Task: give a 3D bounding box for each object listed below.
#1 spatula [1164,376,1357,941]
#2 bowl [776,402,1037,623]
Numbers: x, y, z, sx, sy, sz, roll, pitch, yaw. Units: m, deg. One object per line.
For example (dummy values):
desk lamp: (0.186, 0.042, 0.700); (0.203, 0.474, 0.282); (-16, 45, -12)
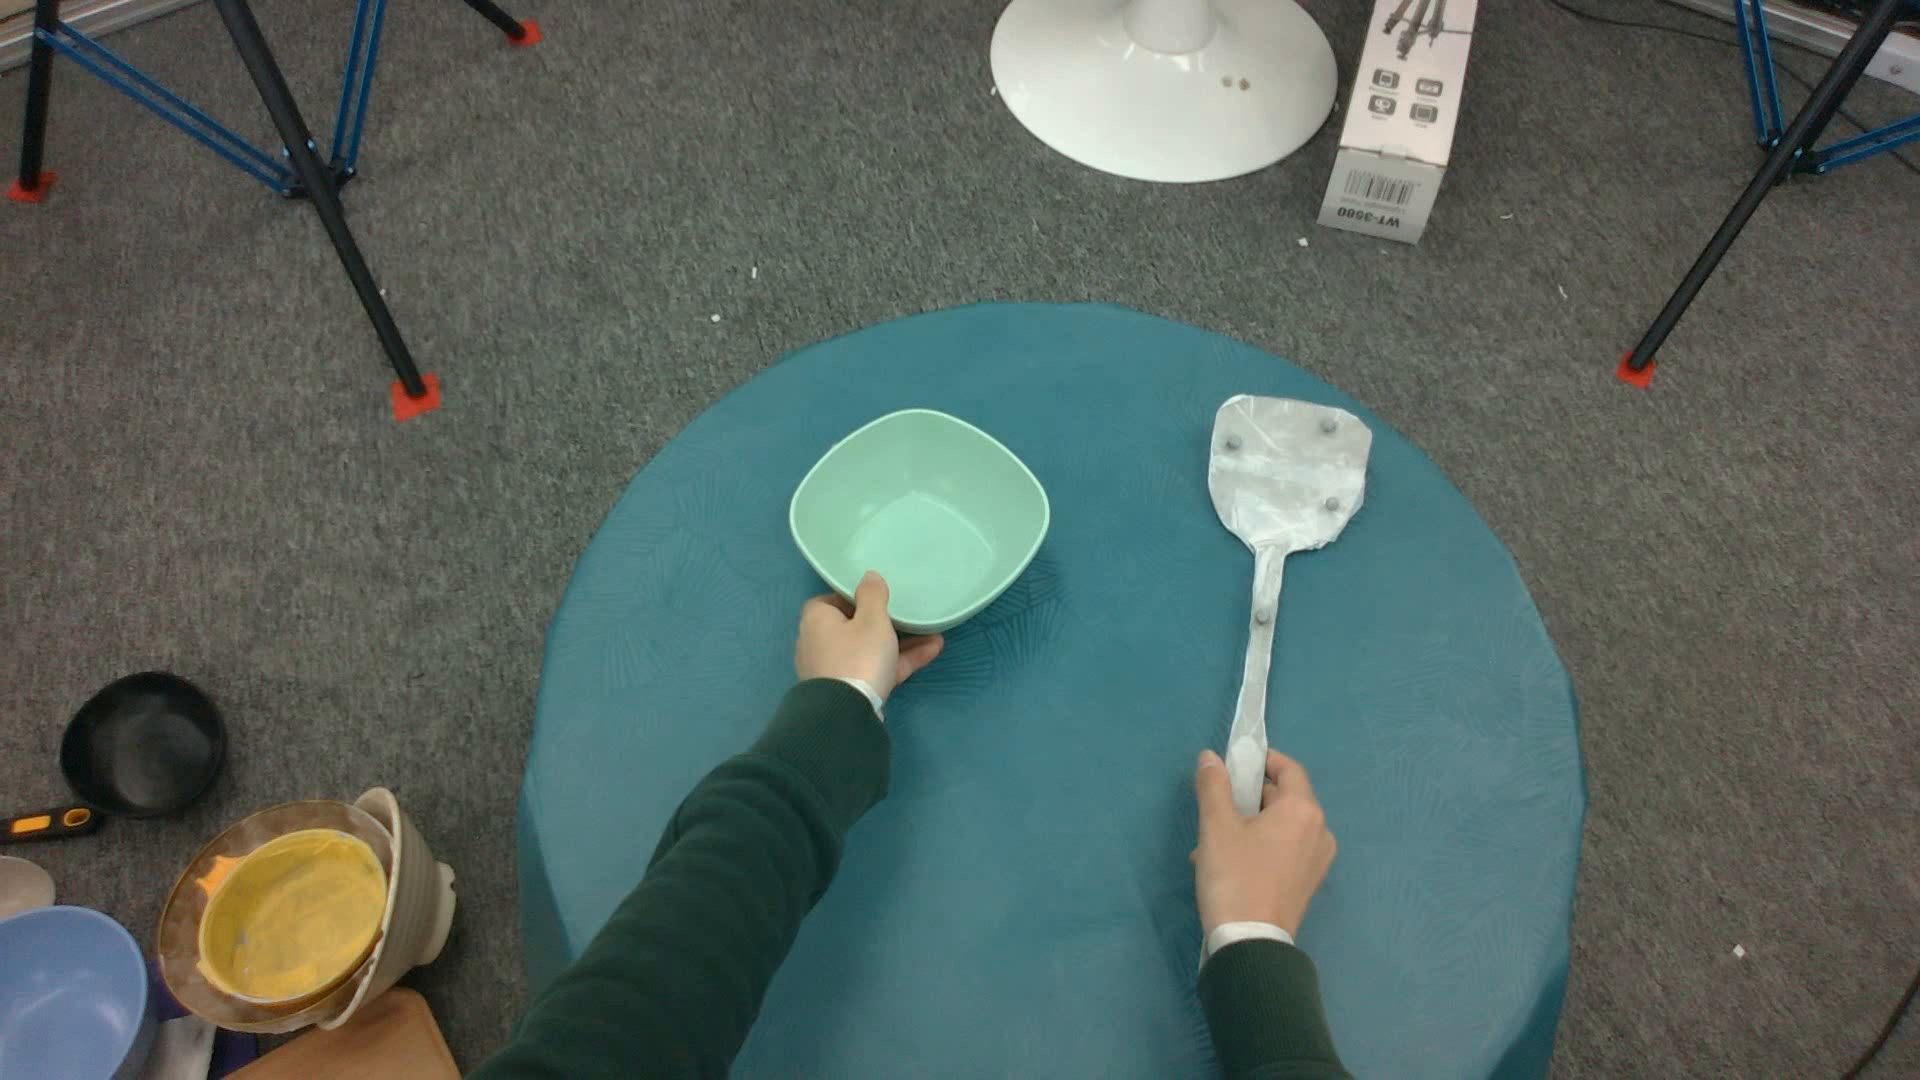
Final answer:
spatula: (0.162, 0.054, 0.792); (0.098, 0.044, 0.366); (13, 55, 6)
bowl: (-0.031, -0.007, 0.816); (0.151, 0.058, 0.152); (1, 54, -1)
